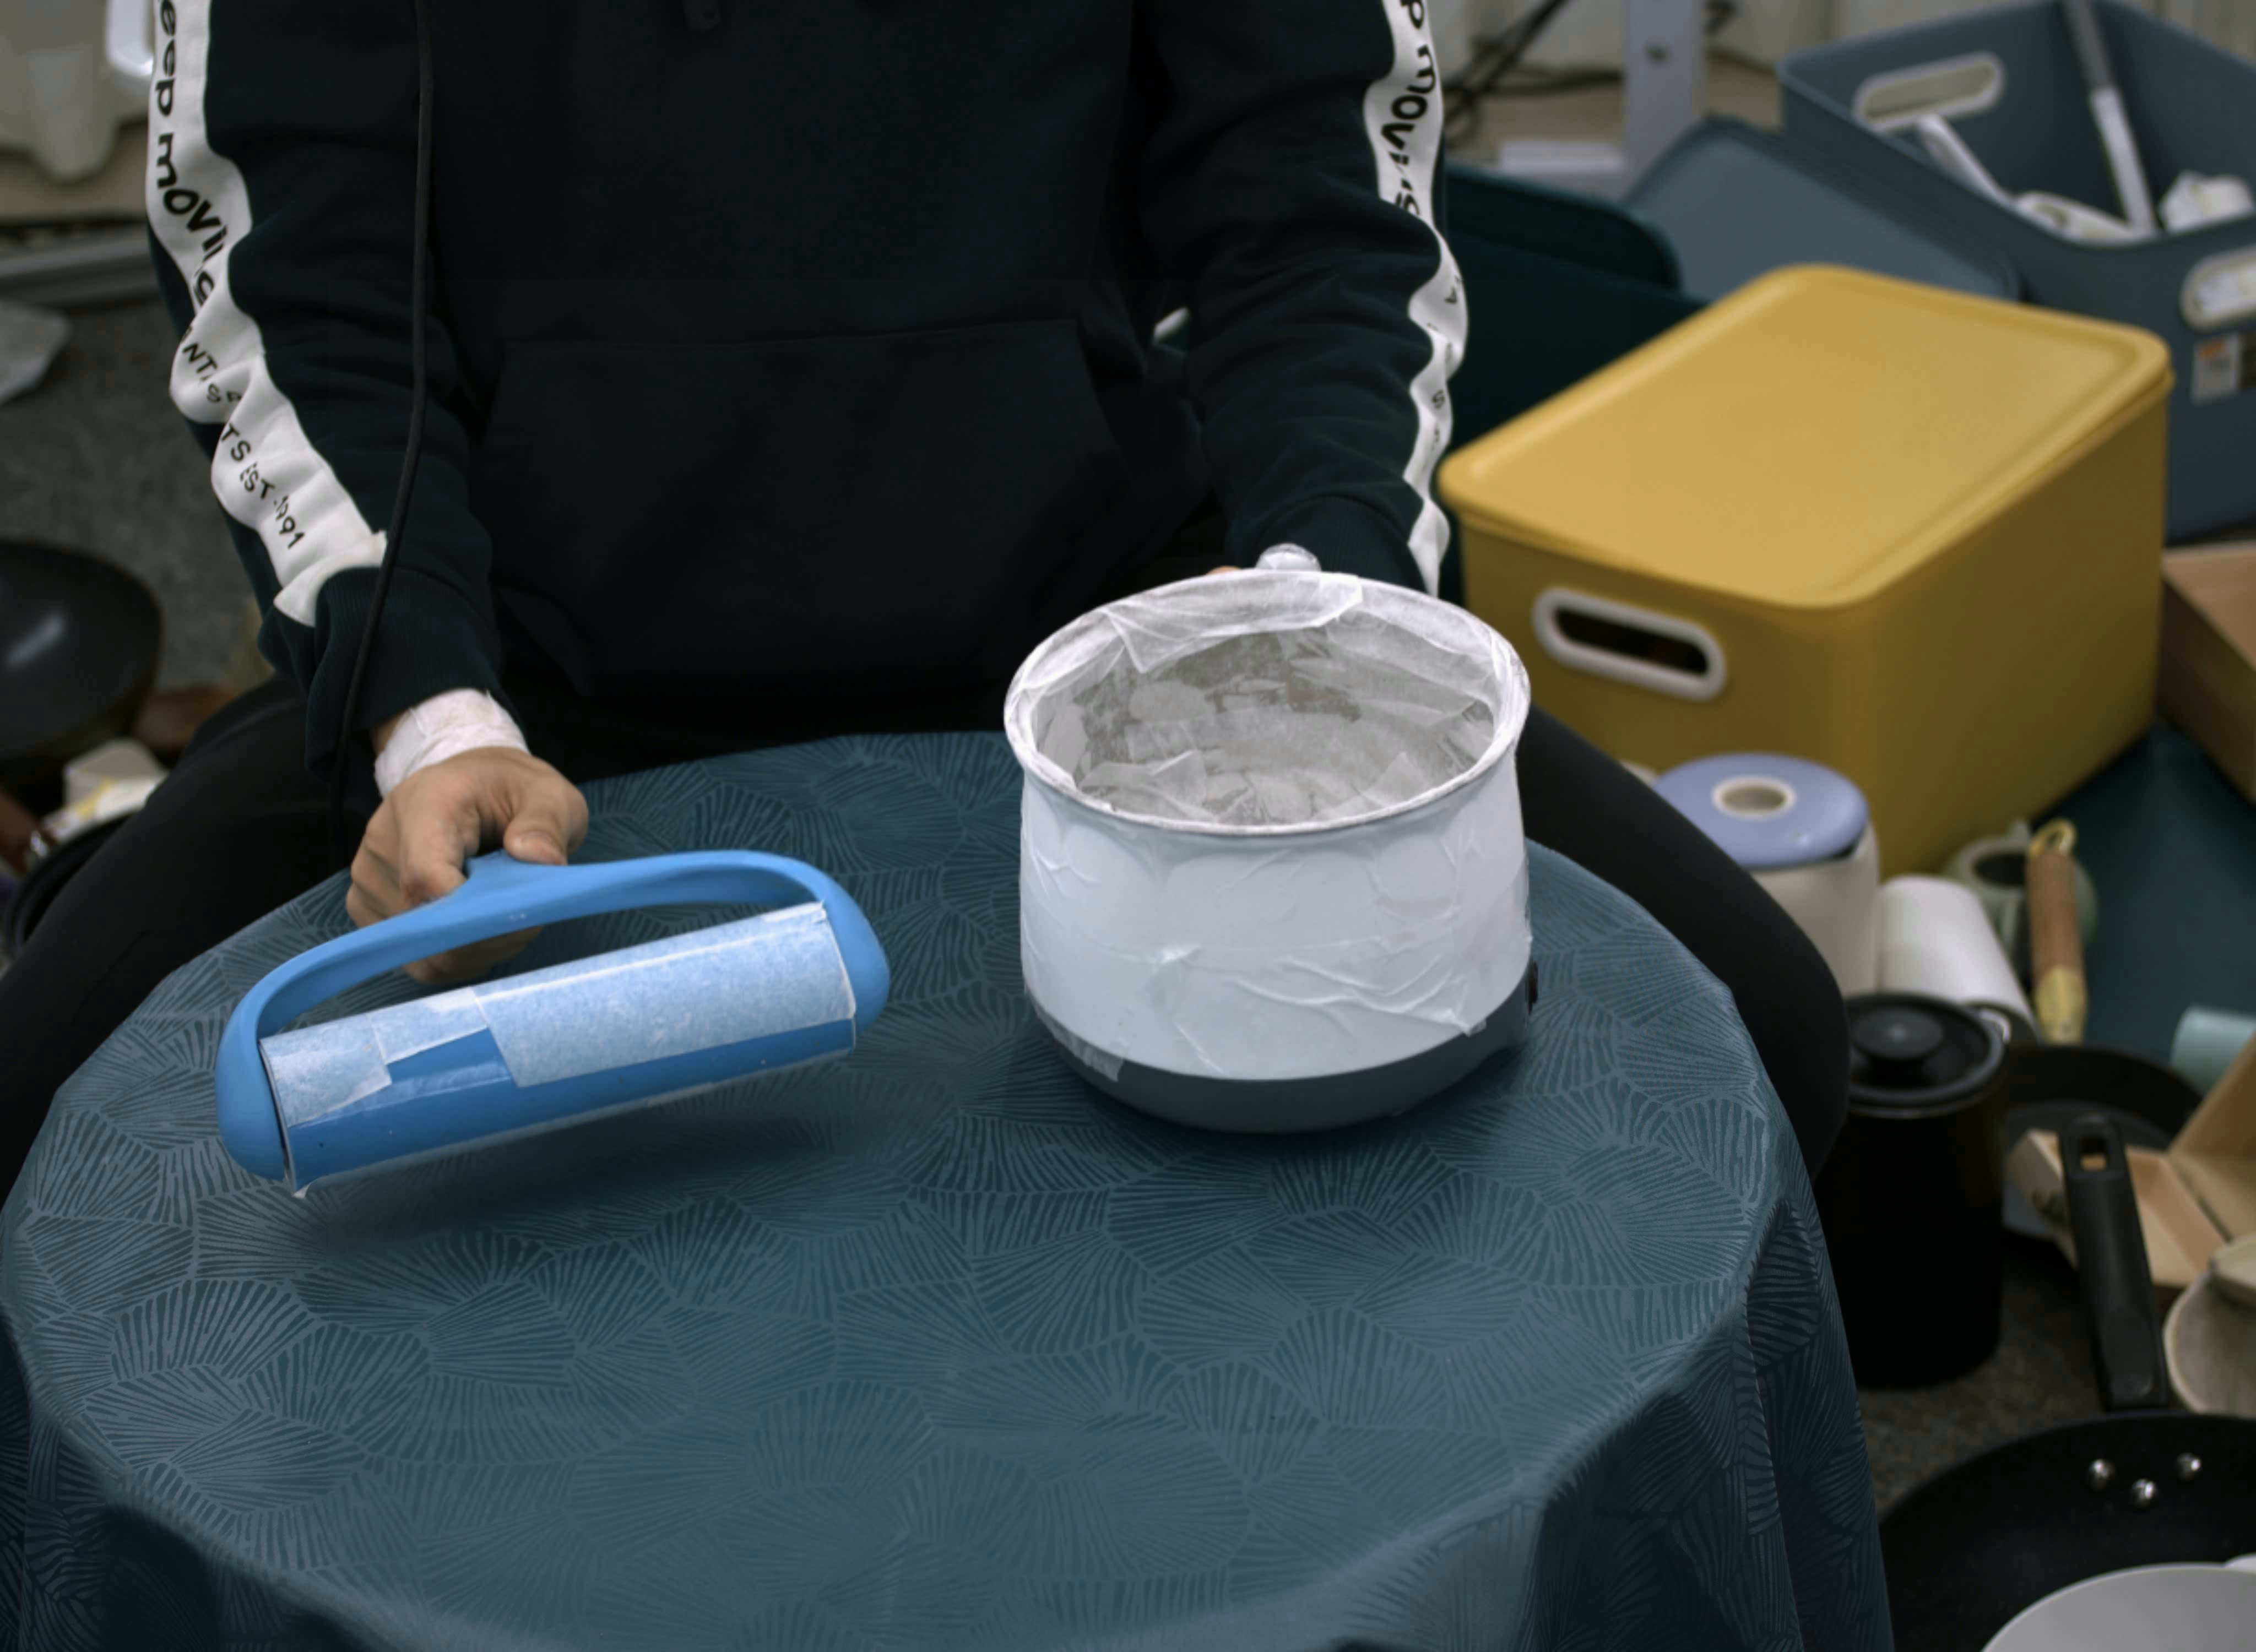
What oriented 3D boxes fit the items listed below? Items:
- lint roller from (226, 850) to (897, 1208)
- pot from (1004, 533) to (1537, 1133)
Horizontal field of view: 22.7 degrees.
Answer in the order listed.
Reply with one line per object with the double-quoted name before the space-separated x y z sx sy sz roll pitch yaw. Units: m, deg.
"lint roller" -0.208 0.047 1.907 0.229 0.067 0.182 -18 33 -17
"pot" 0.051 -0.006 1.933 0.178 0.135 0.238 0 31 5
